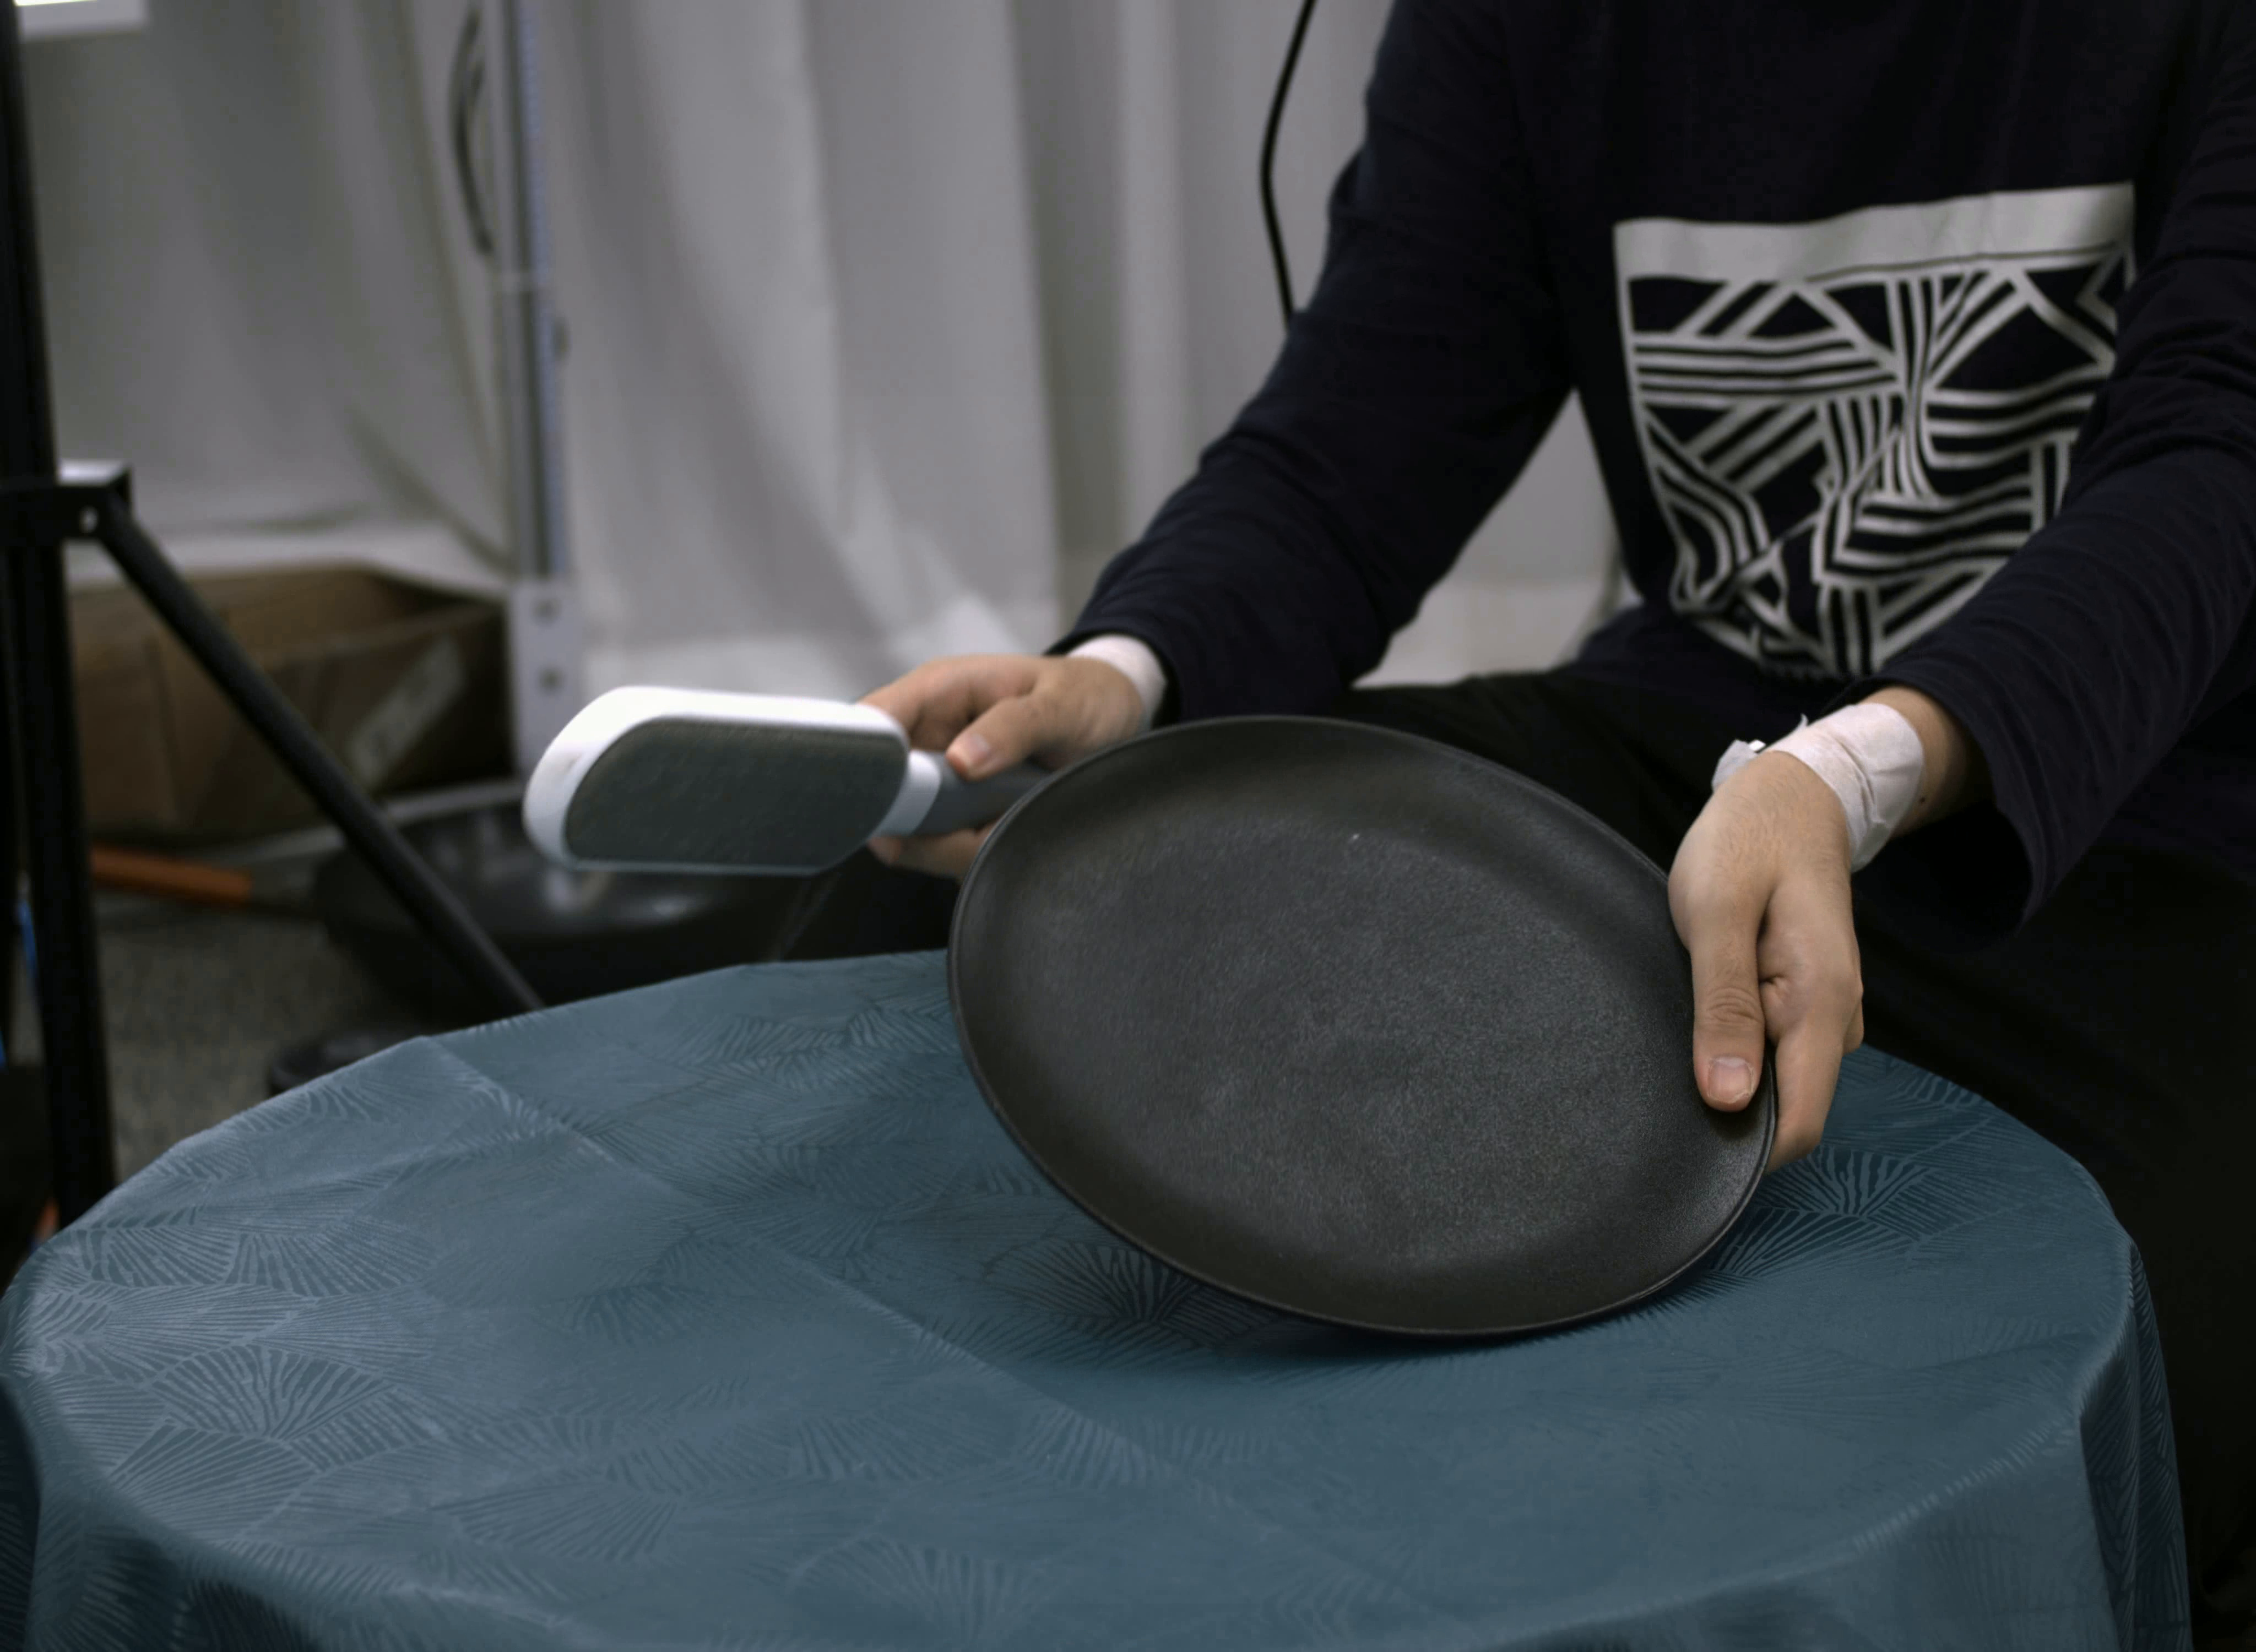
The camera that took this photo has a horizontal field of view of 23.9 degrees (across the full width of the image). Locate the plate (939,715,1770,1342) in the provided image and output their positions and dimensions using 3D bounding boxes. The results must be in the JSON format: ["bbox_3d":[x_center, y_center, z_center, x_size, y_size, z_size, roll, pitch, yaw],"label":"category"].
[{"bbox_3d":[0.064,0.059,1.517,0.242,0.023,0.247,6,43,-7],"label":"plate"}]

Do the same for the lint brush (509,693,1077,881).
[{"bbox_3d":[-0.095,-0.011,1.658,0.021,0.060,0.302,32,15,26],"label":"lint brush"}]
